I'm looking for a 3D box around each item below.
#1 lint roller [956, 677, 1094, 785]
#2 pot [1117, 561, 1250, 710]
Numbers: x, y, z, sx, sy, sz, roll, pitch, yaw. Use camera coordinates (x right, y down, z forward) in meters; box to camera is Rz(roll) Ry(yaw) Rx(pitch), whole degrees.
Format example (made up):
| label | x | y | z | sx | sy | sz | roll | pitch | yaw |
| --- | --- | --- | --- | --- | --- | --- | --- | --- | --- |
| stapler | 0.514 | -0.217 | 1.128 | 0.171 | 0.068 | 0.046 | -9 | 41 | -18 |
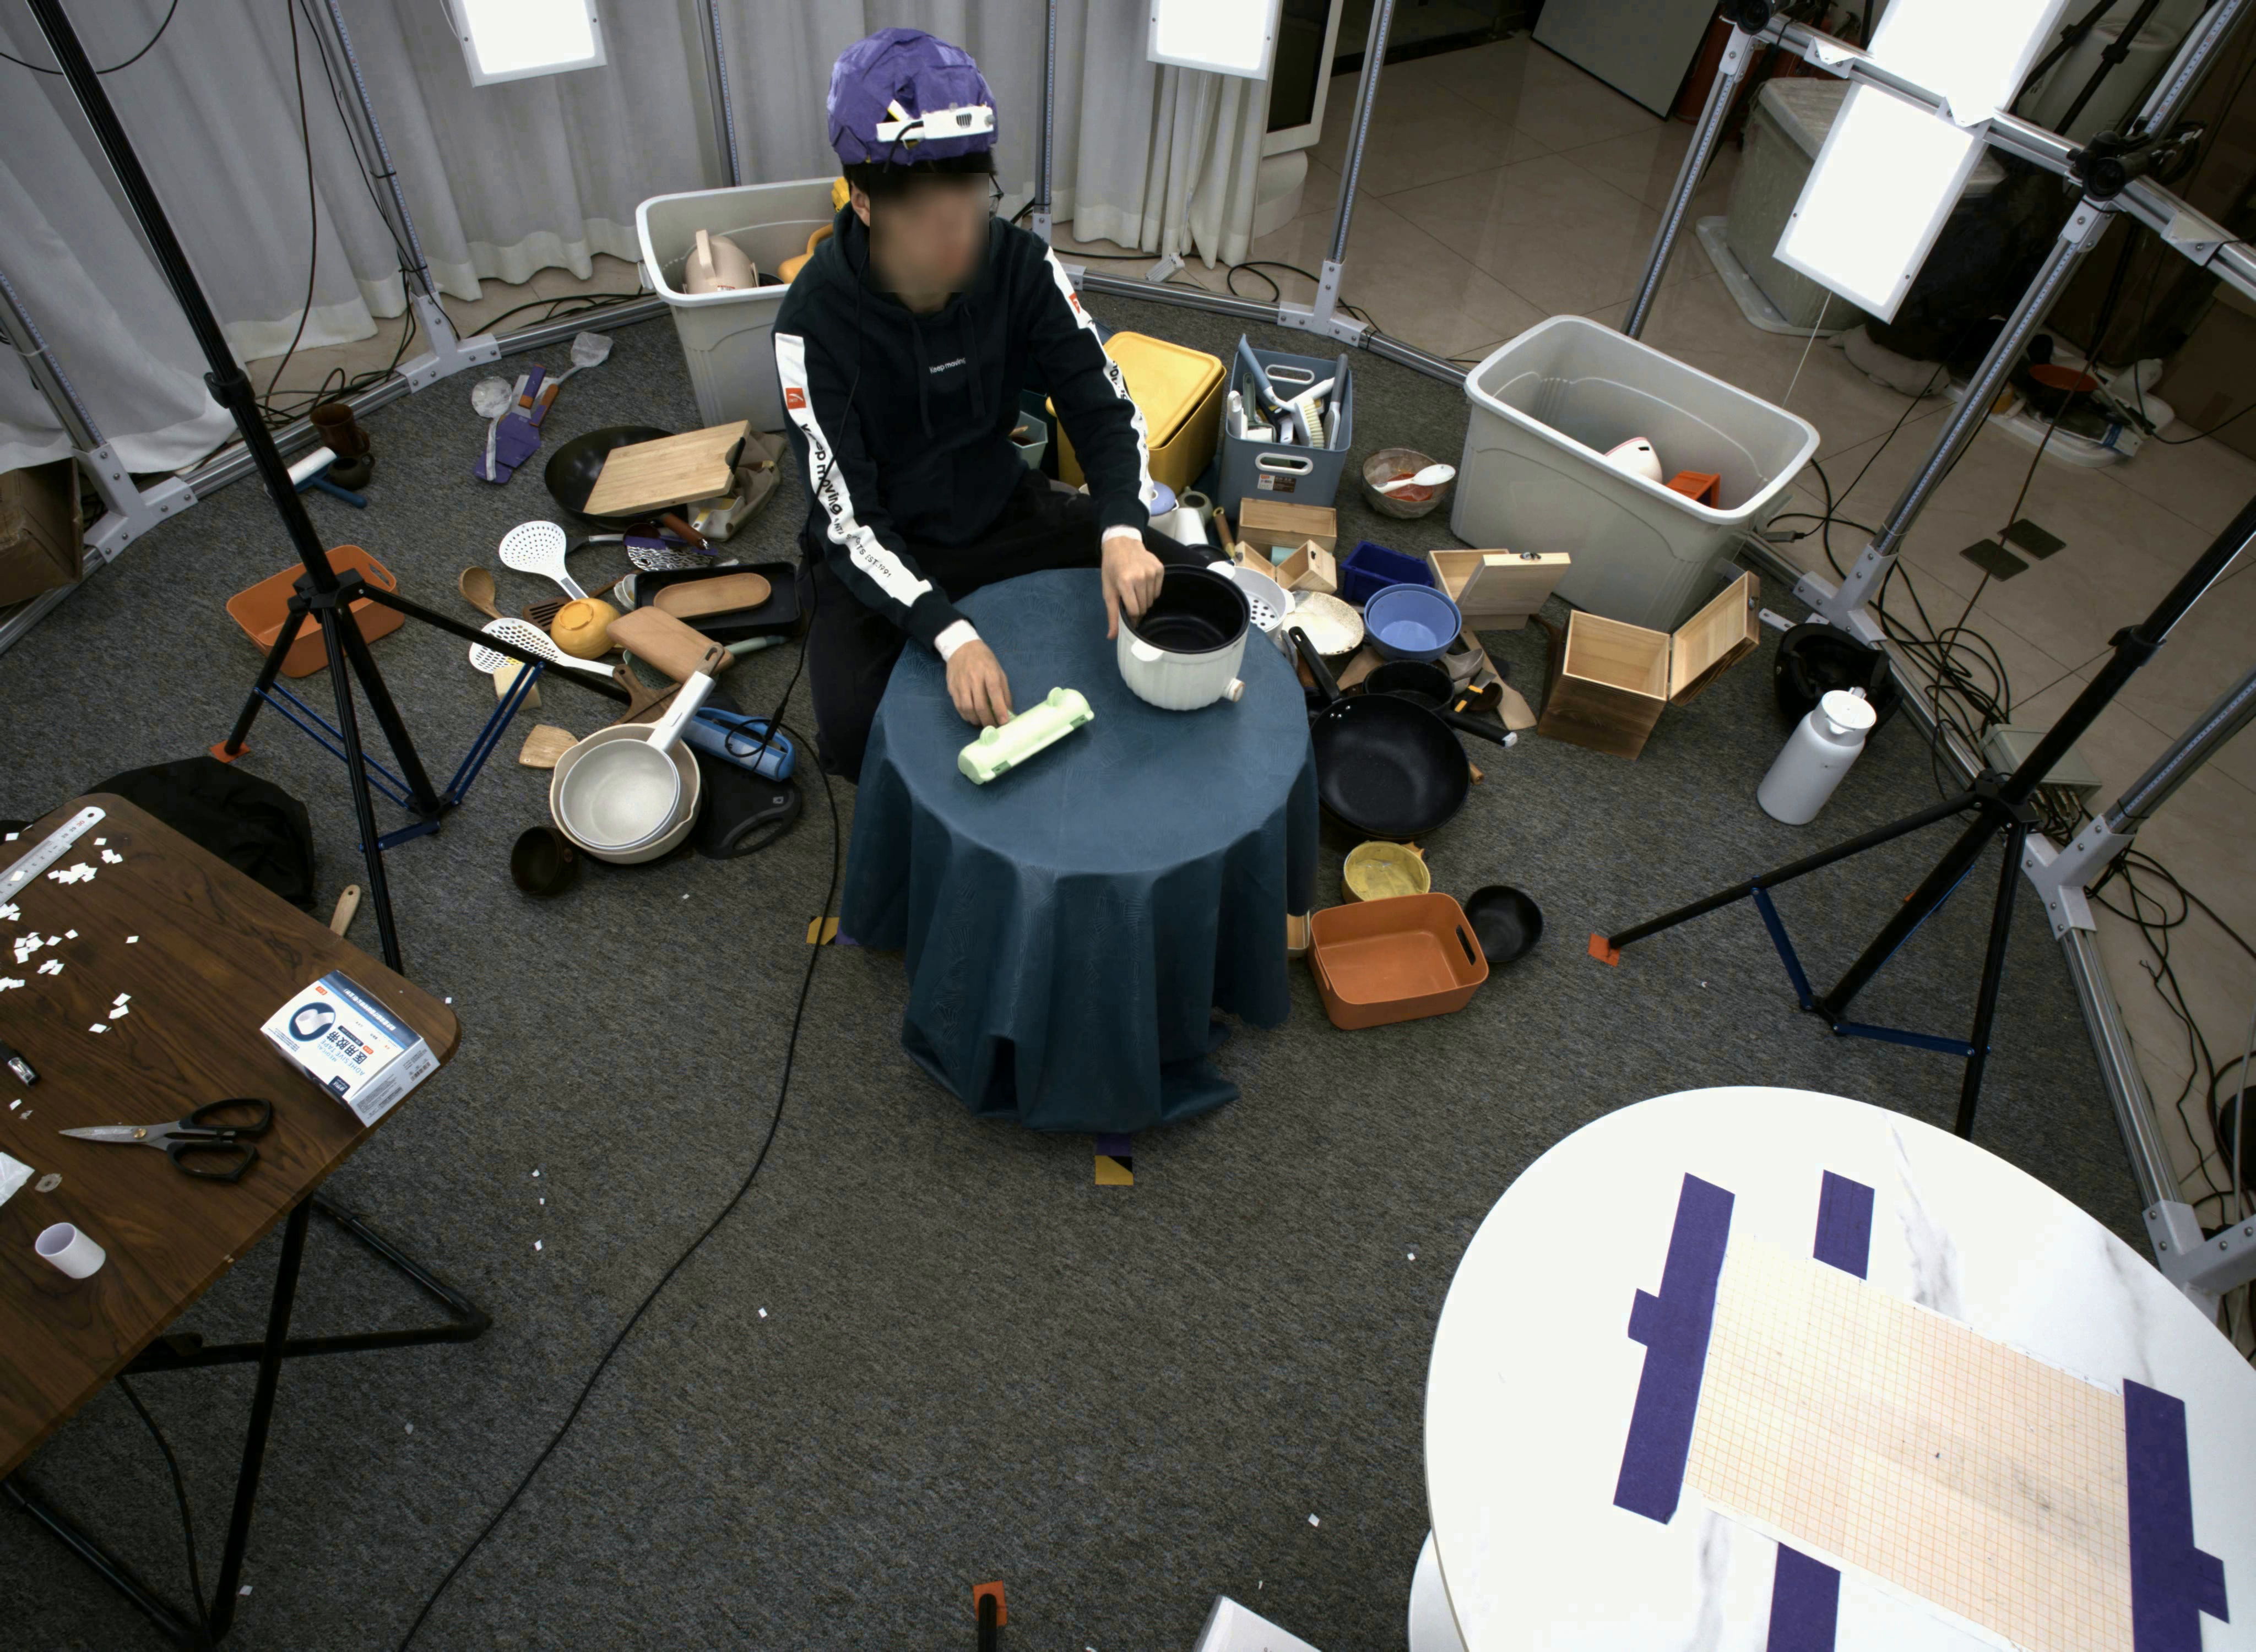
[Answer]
| label | x | y | z | sx | sy | sz | roll | pitch | yaw |
| --- | --- | --- | --- | --- | --- | --- | --- | --- | --- |
| lint roller | -0.174 | -0.162 | 1.749 | 0.200 | 0.080 | 0.186 | -33 | 64 | -27 |
| pot | 0.079 | -0.257 | 1.807 | 0.192 | 0.139 | 0.244 | 25 | 53 | 21 |
